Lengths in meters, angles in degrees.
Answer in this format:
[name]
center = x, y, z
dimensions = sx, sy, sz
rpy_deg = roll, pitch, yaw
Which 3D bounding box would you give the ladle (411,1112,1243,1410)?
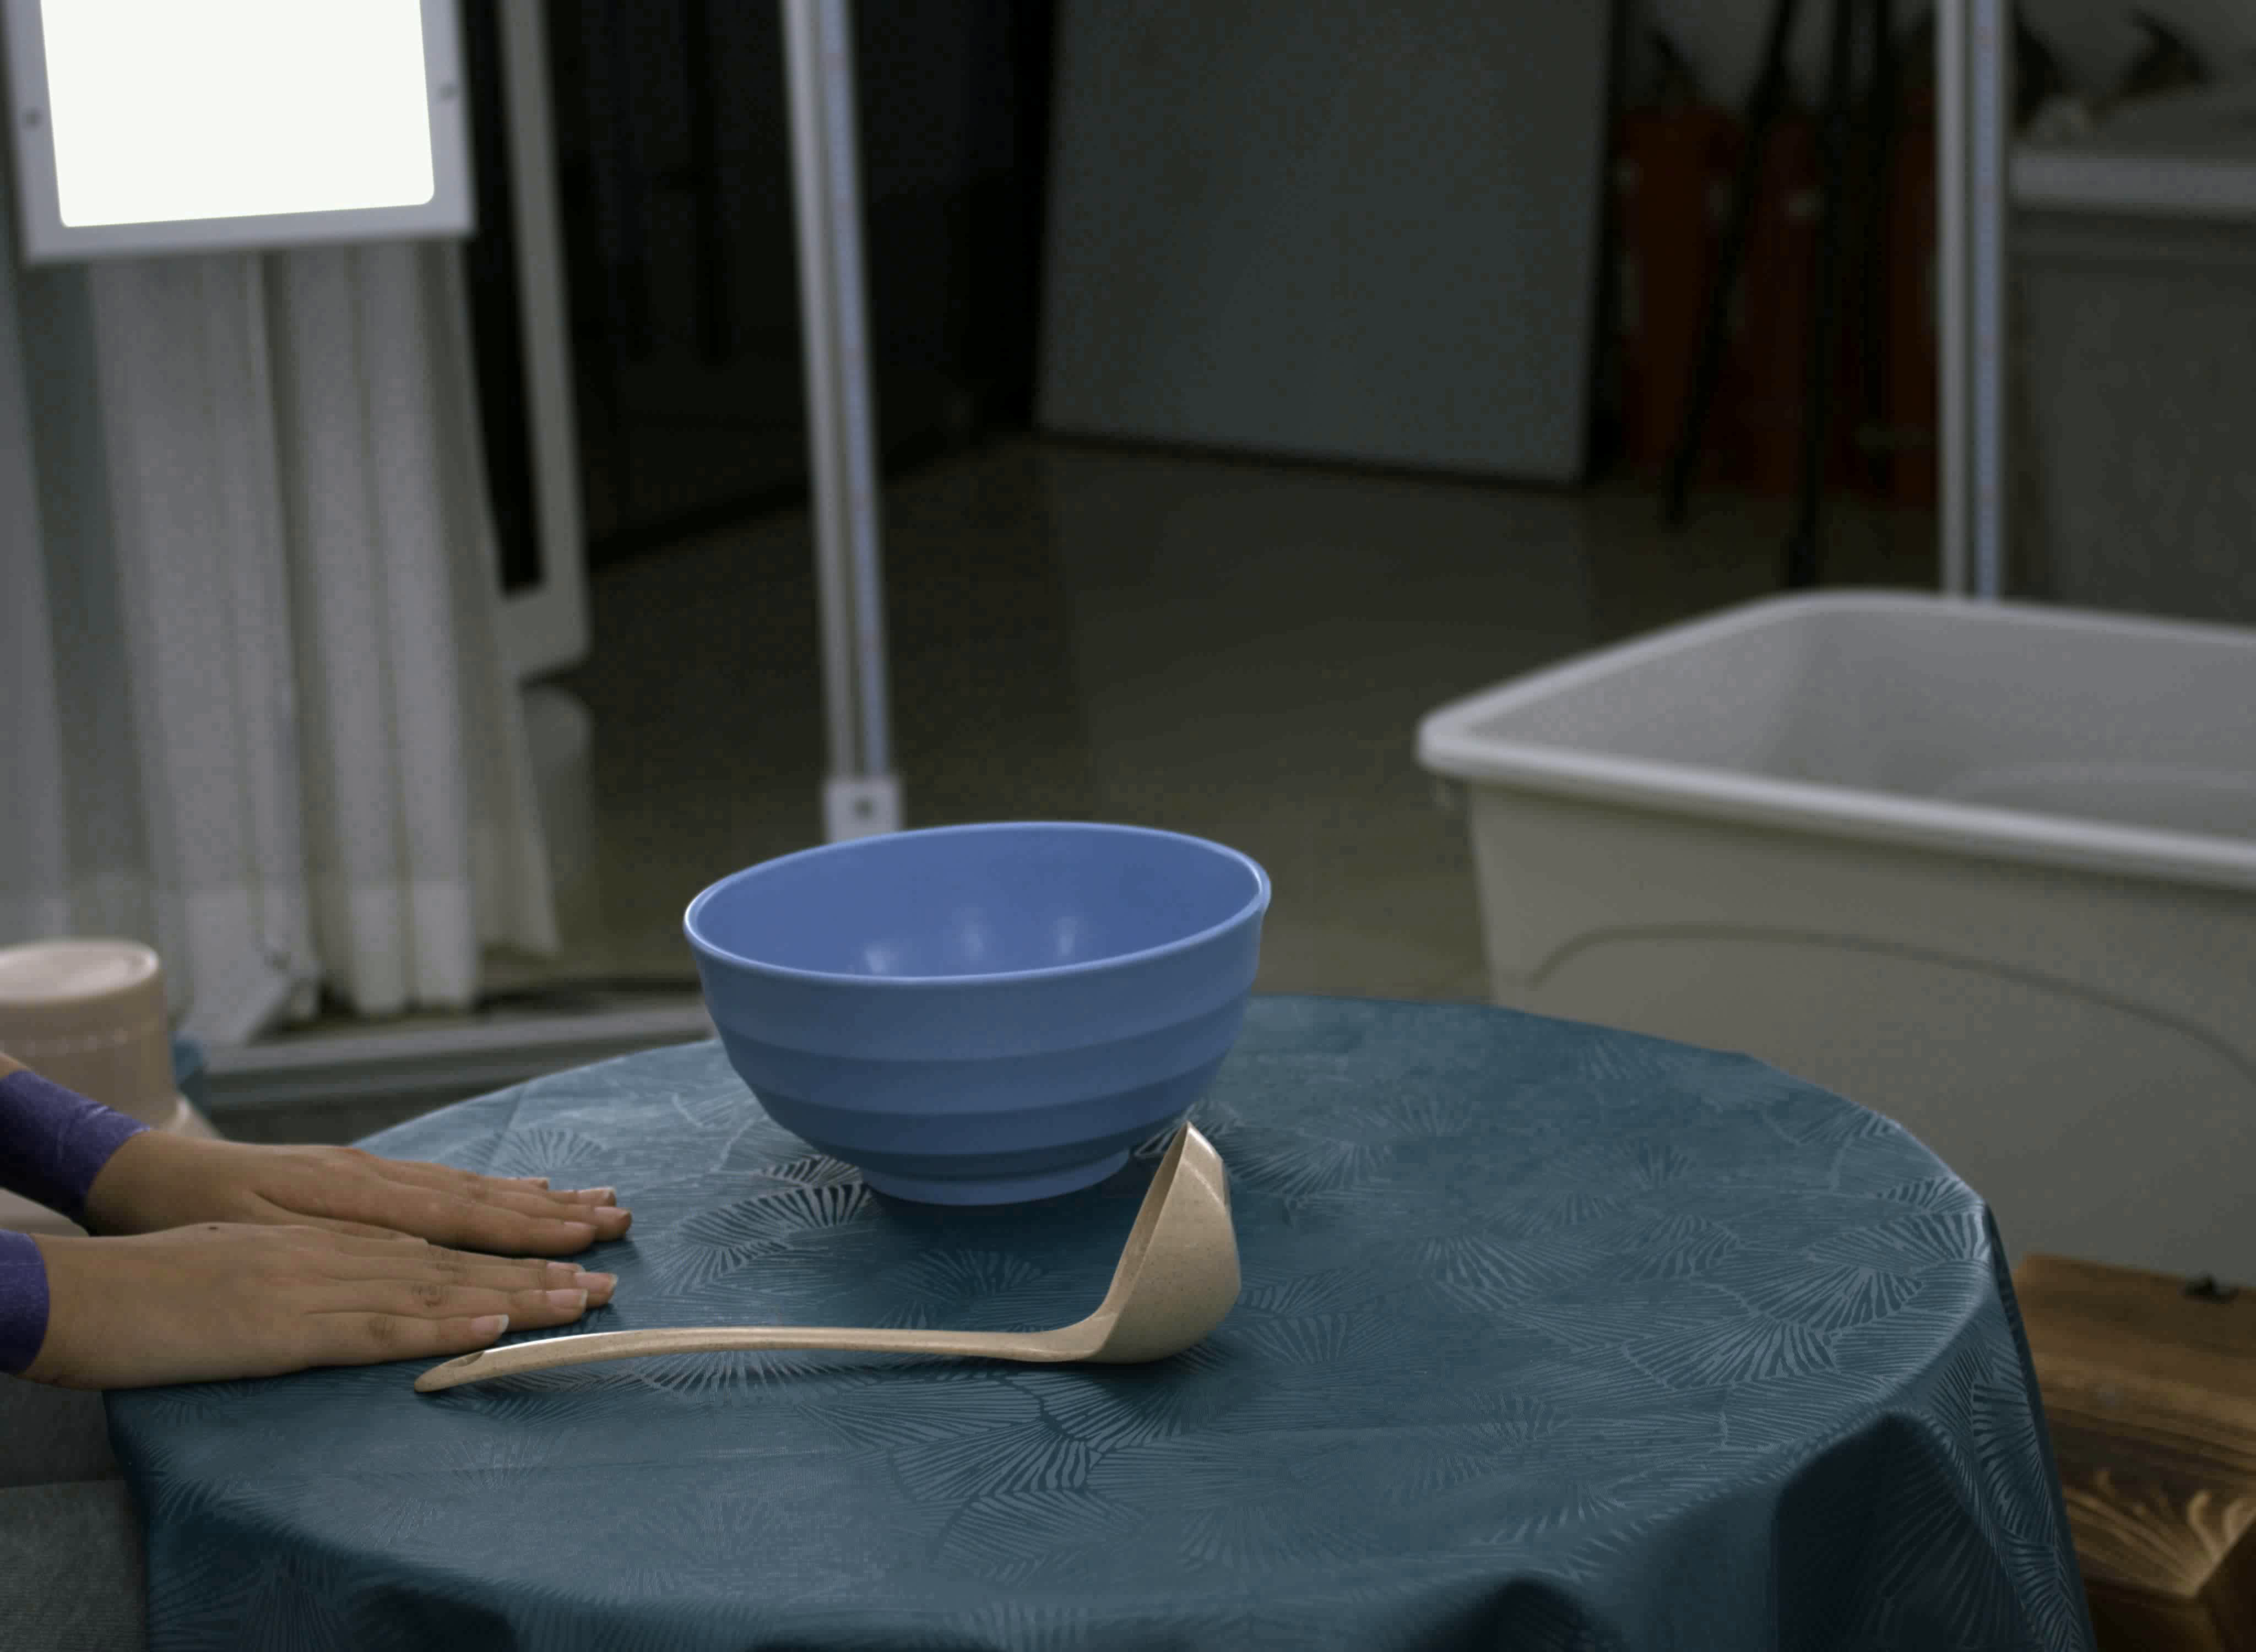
[ladle]
center = -0.092, 0.129, 1.610
dimensions = 0.251, 0.073, 0.072
rpy_deg = -4, 12, 2

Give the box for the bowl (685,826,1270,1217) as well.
[bowl]
center = -0.048, 0.070, 1.798
dimensions = 0.194, 0.096, 0.197
rpy_deg = -3, 14, 0
